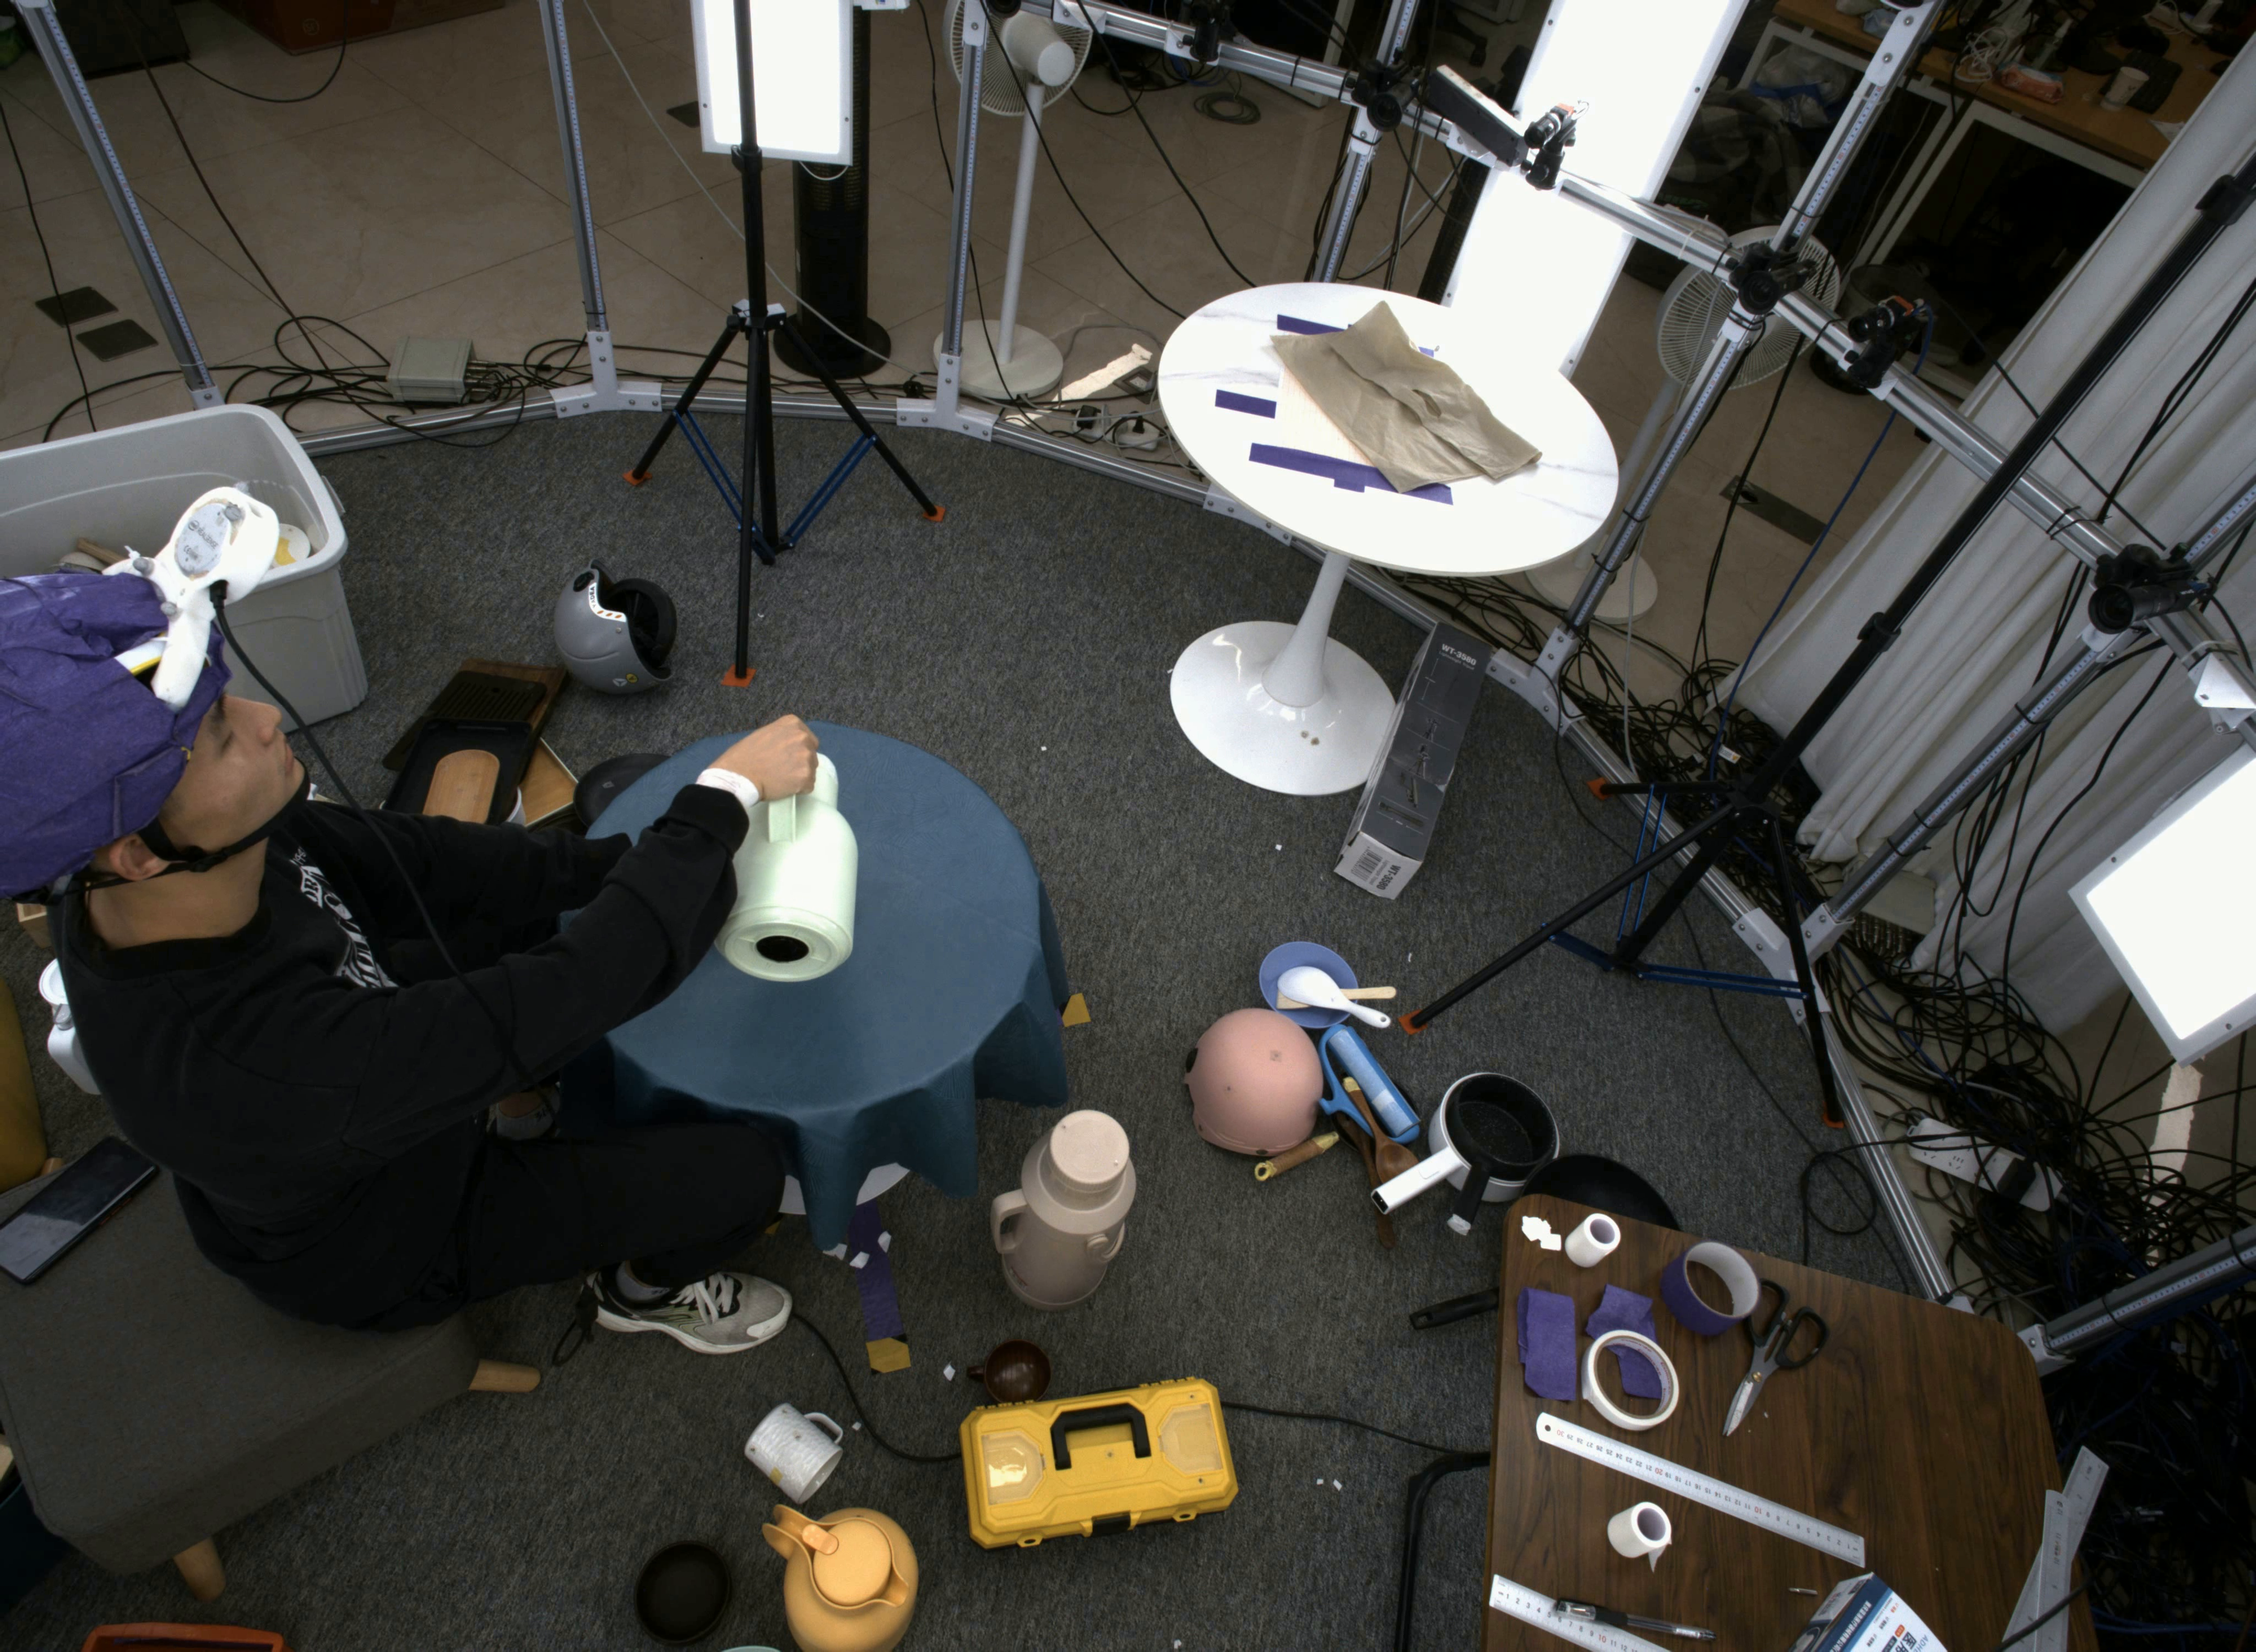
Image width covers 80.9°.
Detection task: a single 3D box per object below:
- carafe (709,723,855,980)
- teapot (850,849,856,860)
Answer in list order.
[{"bbox_3d":[-0.369,0.017,1.403,0.143,0.191,0.252,-1,57,-4],"label":"carafe"},{"bbox_3d":[-0.406,0.046,1.617,0.133,0.054,0.089,0,53,-14],"label":"teapot"}]
